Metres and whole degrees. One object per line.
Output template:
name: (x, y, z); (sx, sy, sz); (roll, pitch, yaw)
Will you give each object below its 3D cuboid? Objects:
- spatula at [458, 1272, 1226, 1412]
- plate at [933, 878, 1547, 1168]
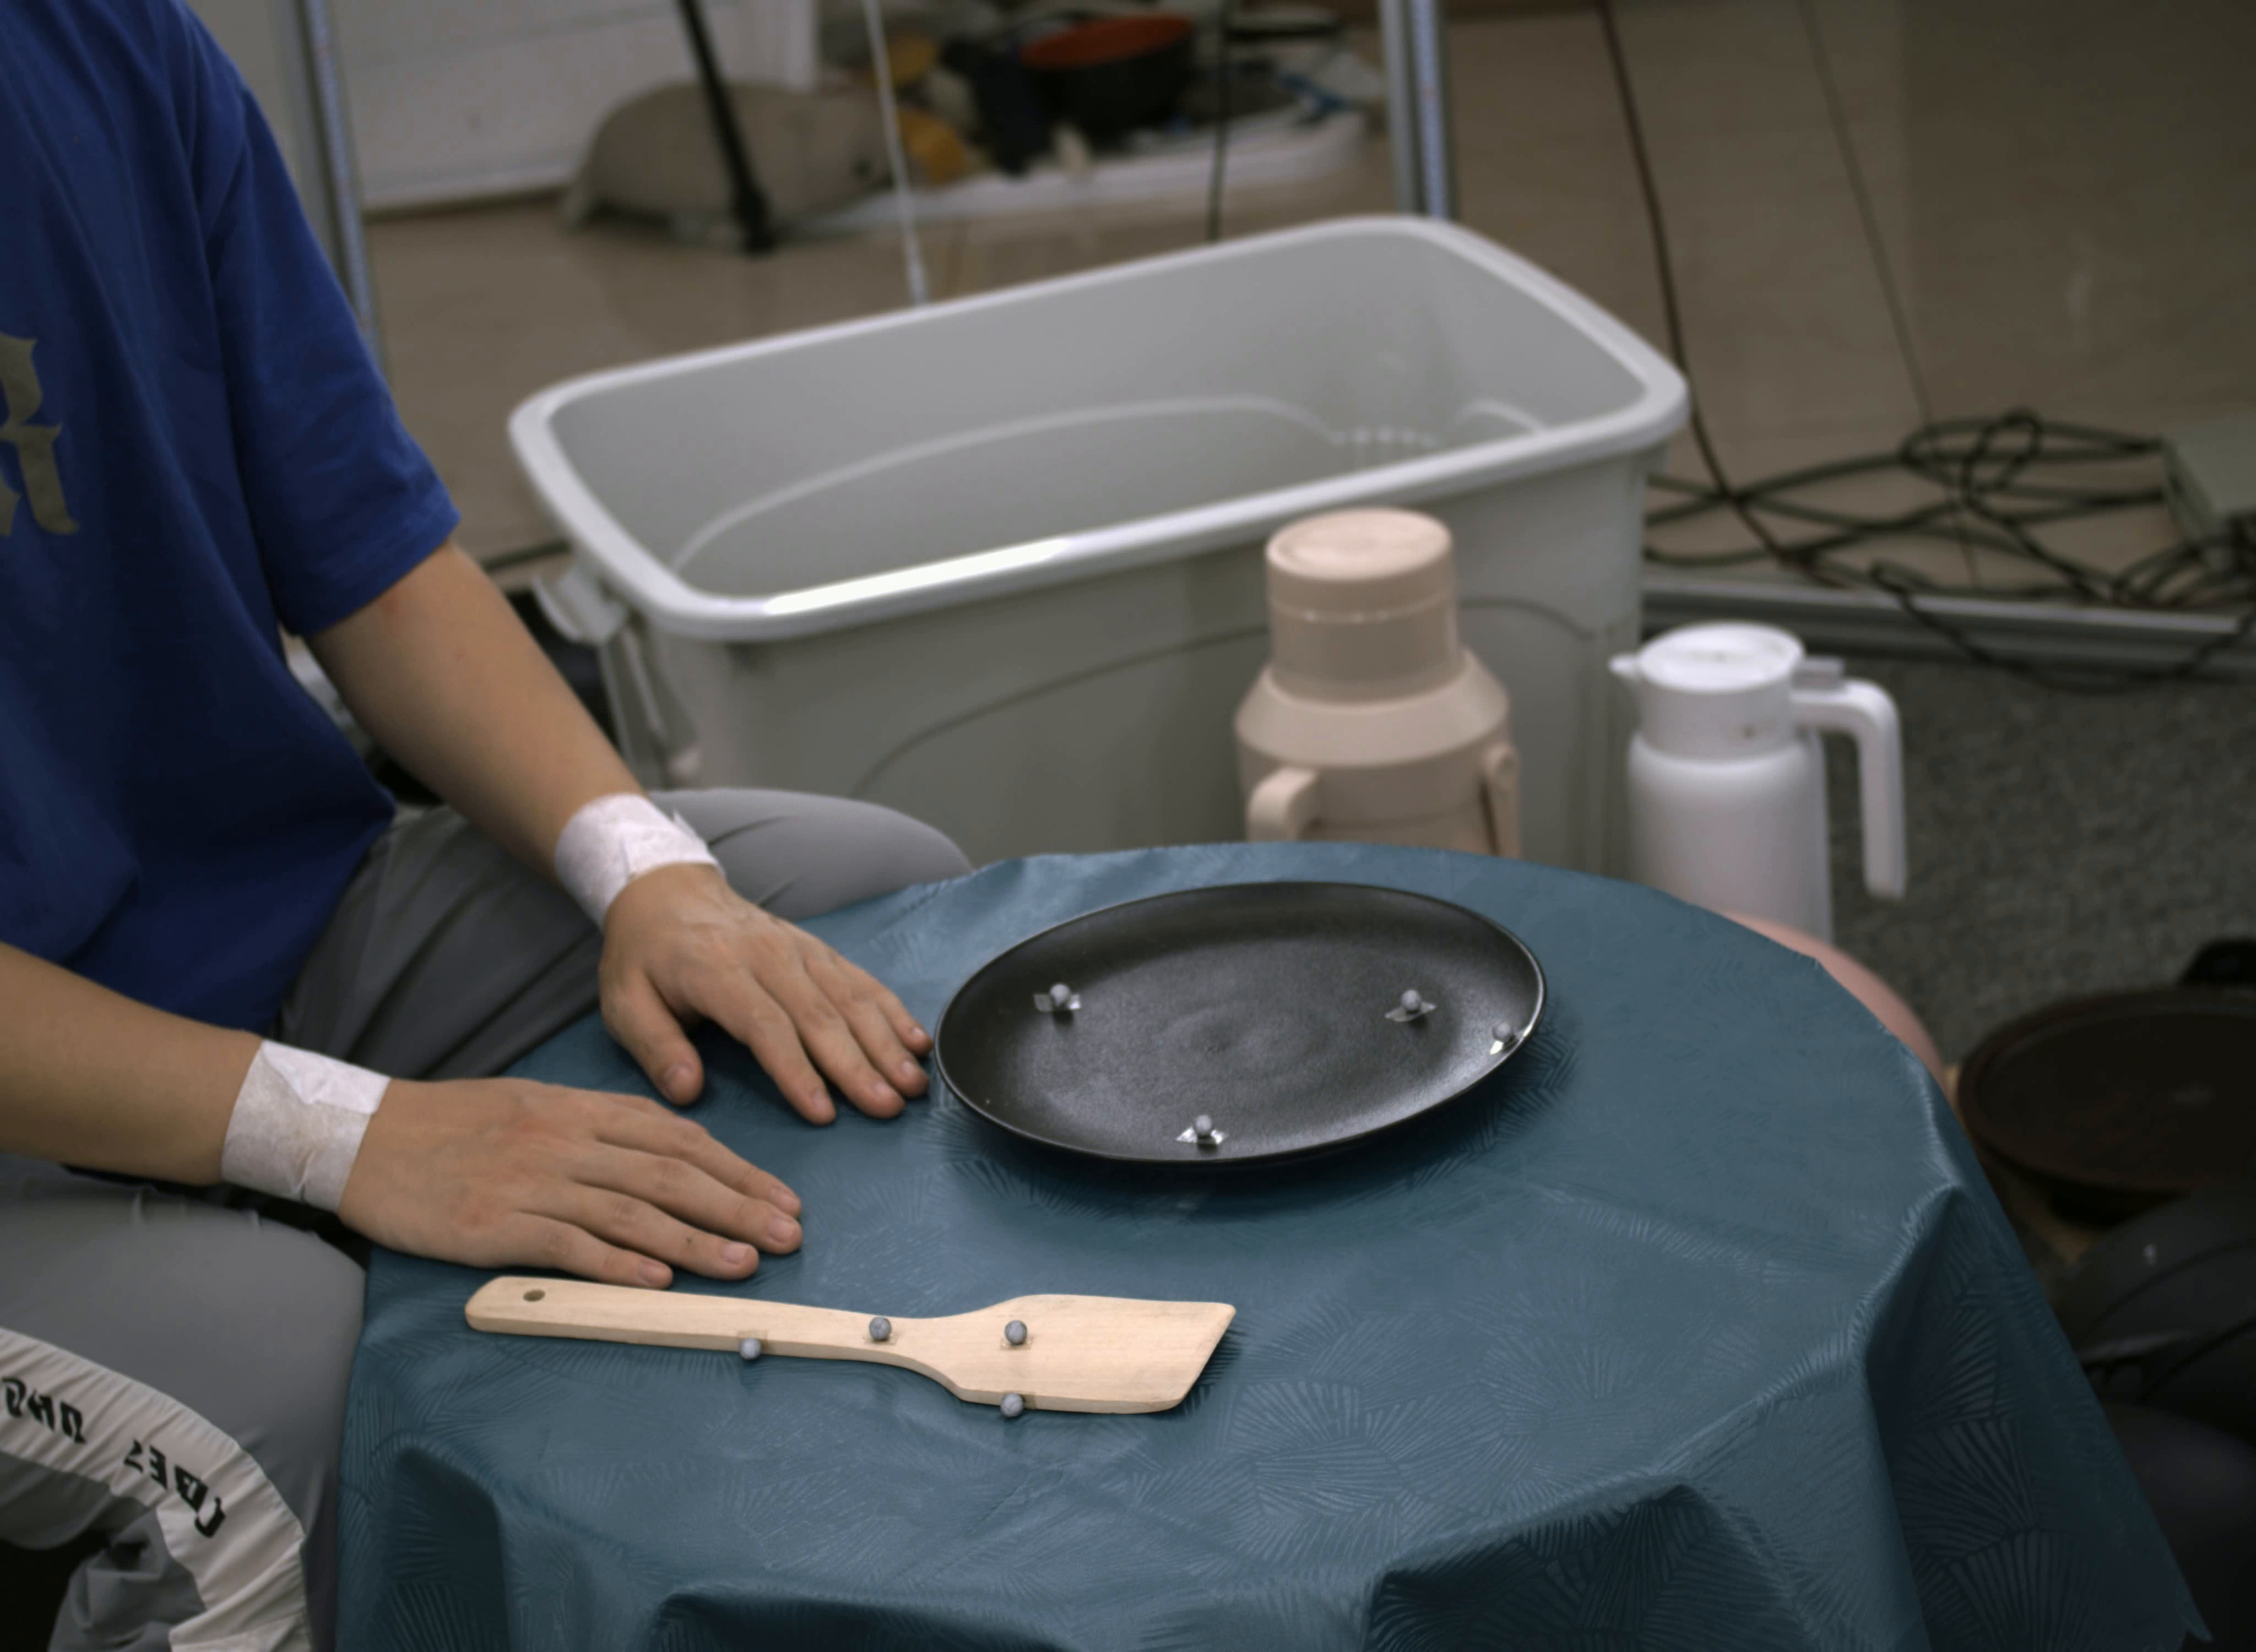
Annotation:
spatula: (-0.111, 0.183, 2.068); (0.292, 0.011, 0.071); (3, 28, 19)
plate: (0.044, 0.082, 2.230); (0.244, 0.024, 0.241); (-6, 25, 3)
